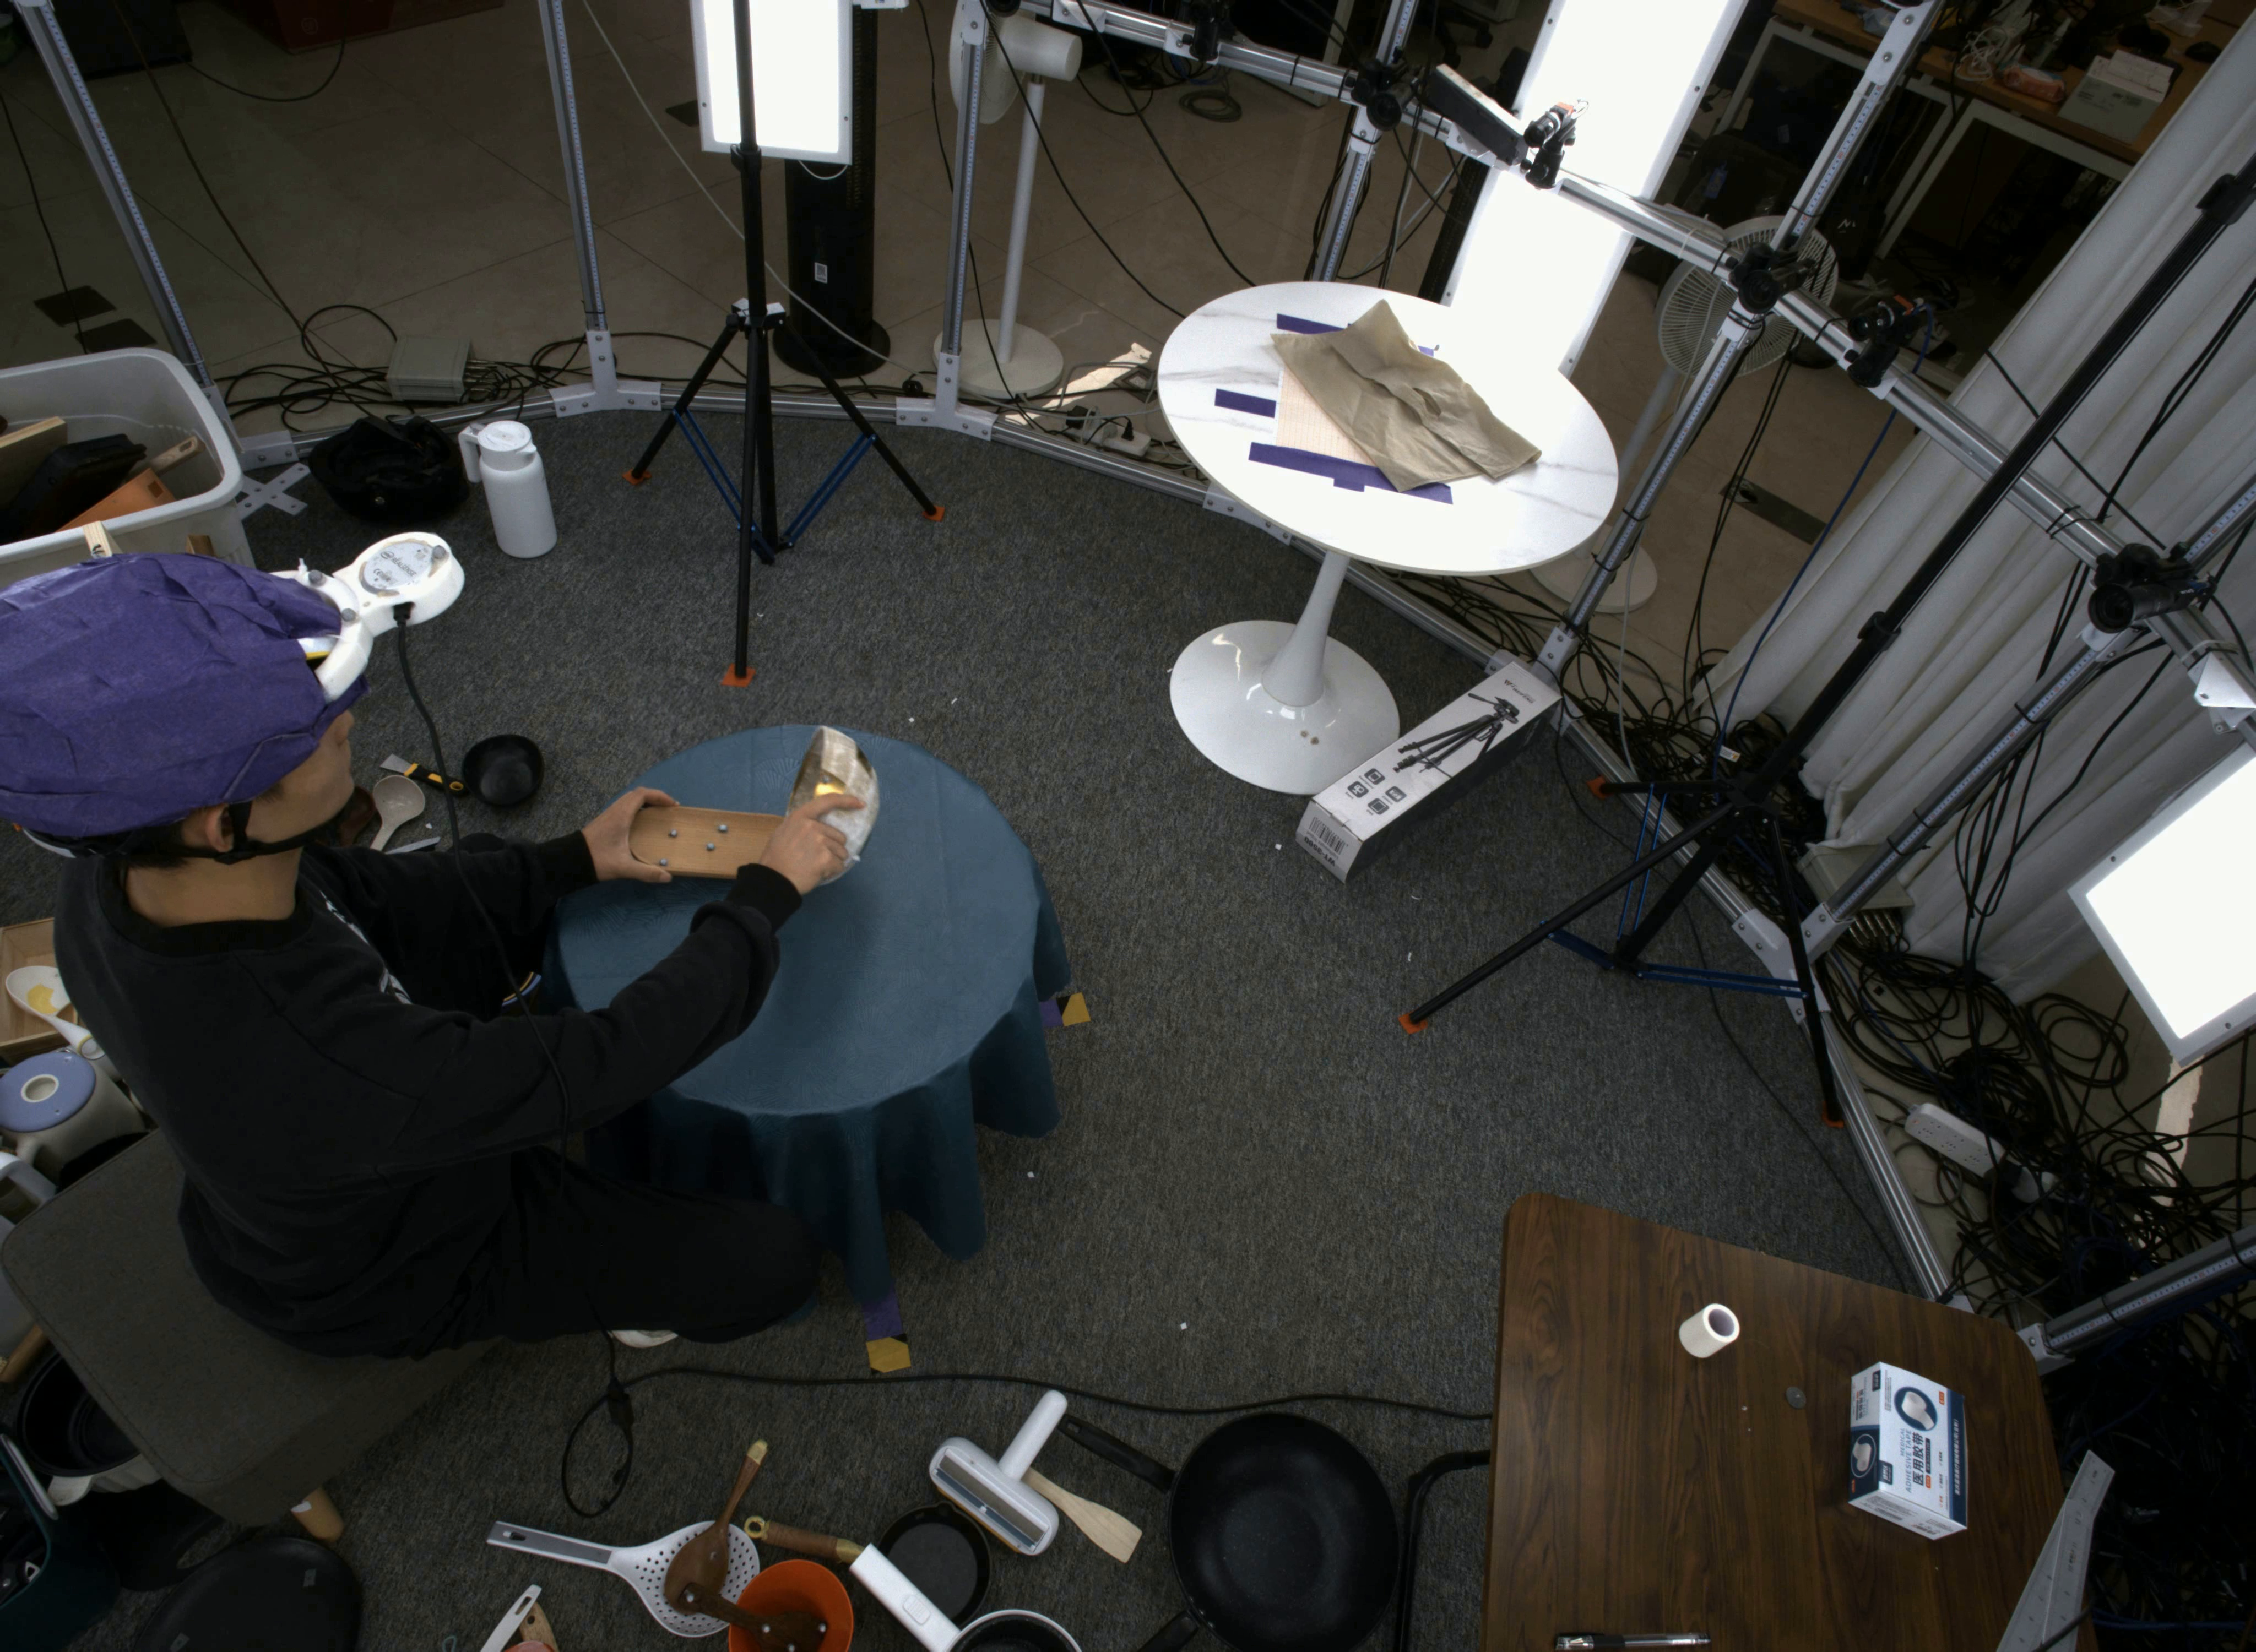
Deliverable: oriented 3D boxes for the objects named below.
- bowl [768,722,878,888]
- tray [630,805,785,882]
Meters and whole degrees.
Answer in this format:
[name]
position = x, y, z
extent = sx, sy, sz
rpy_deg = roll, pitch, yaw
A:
[bowl]
position = -0.363, -0.013, 1.590
extent = 0.096, 0.215, 0.210
rpy_deg = 18, 48, -23
[tray]
position = -0.517, 0.022, 1.645
extent = 0.235, 0.020, 0.100
rpy_deg = 6, 55, -31
